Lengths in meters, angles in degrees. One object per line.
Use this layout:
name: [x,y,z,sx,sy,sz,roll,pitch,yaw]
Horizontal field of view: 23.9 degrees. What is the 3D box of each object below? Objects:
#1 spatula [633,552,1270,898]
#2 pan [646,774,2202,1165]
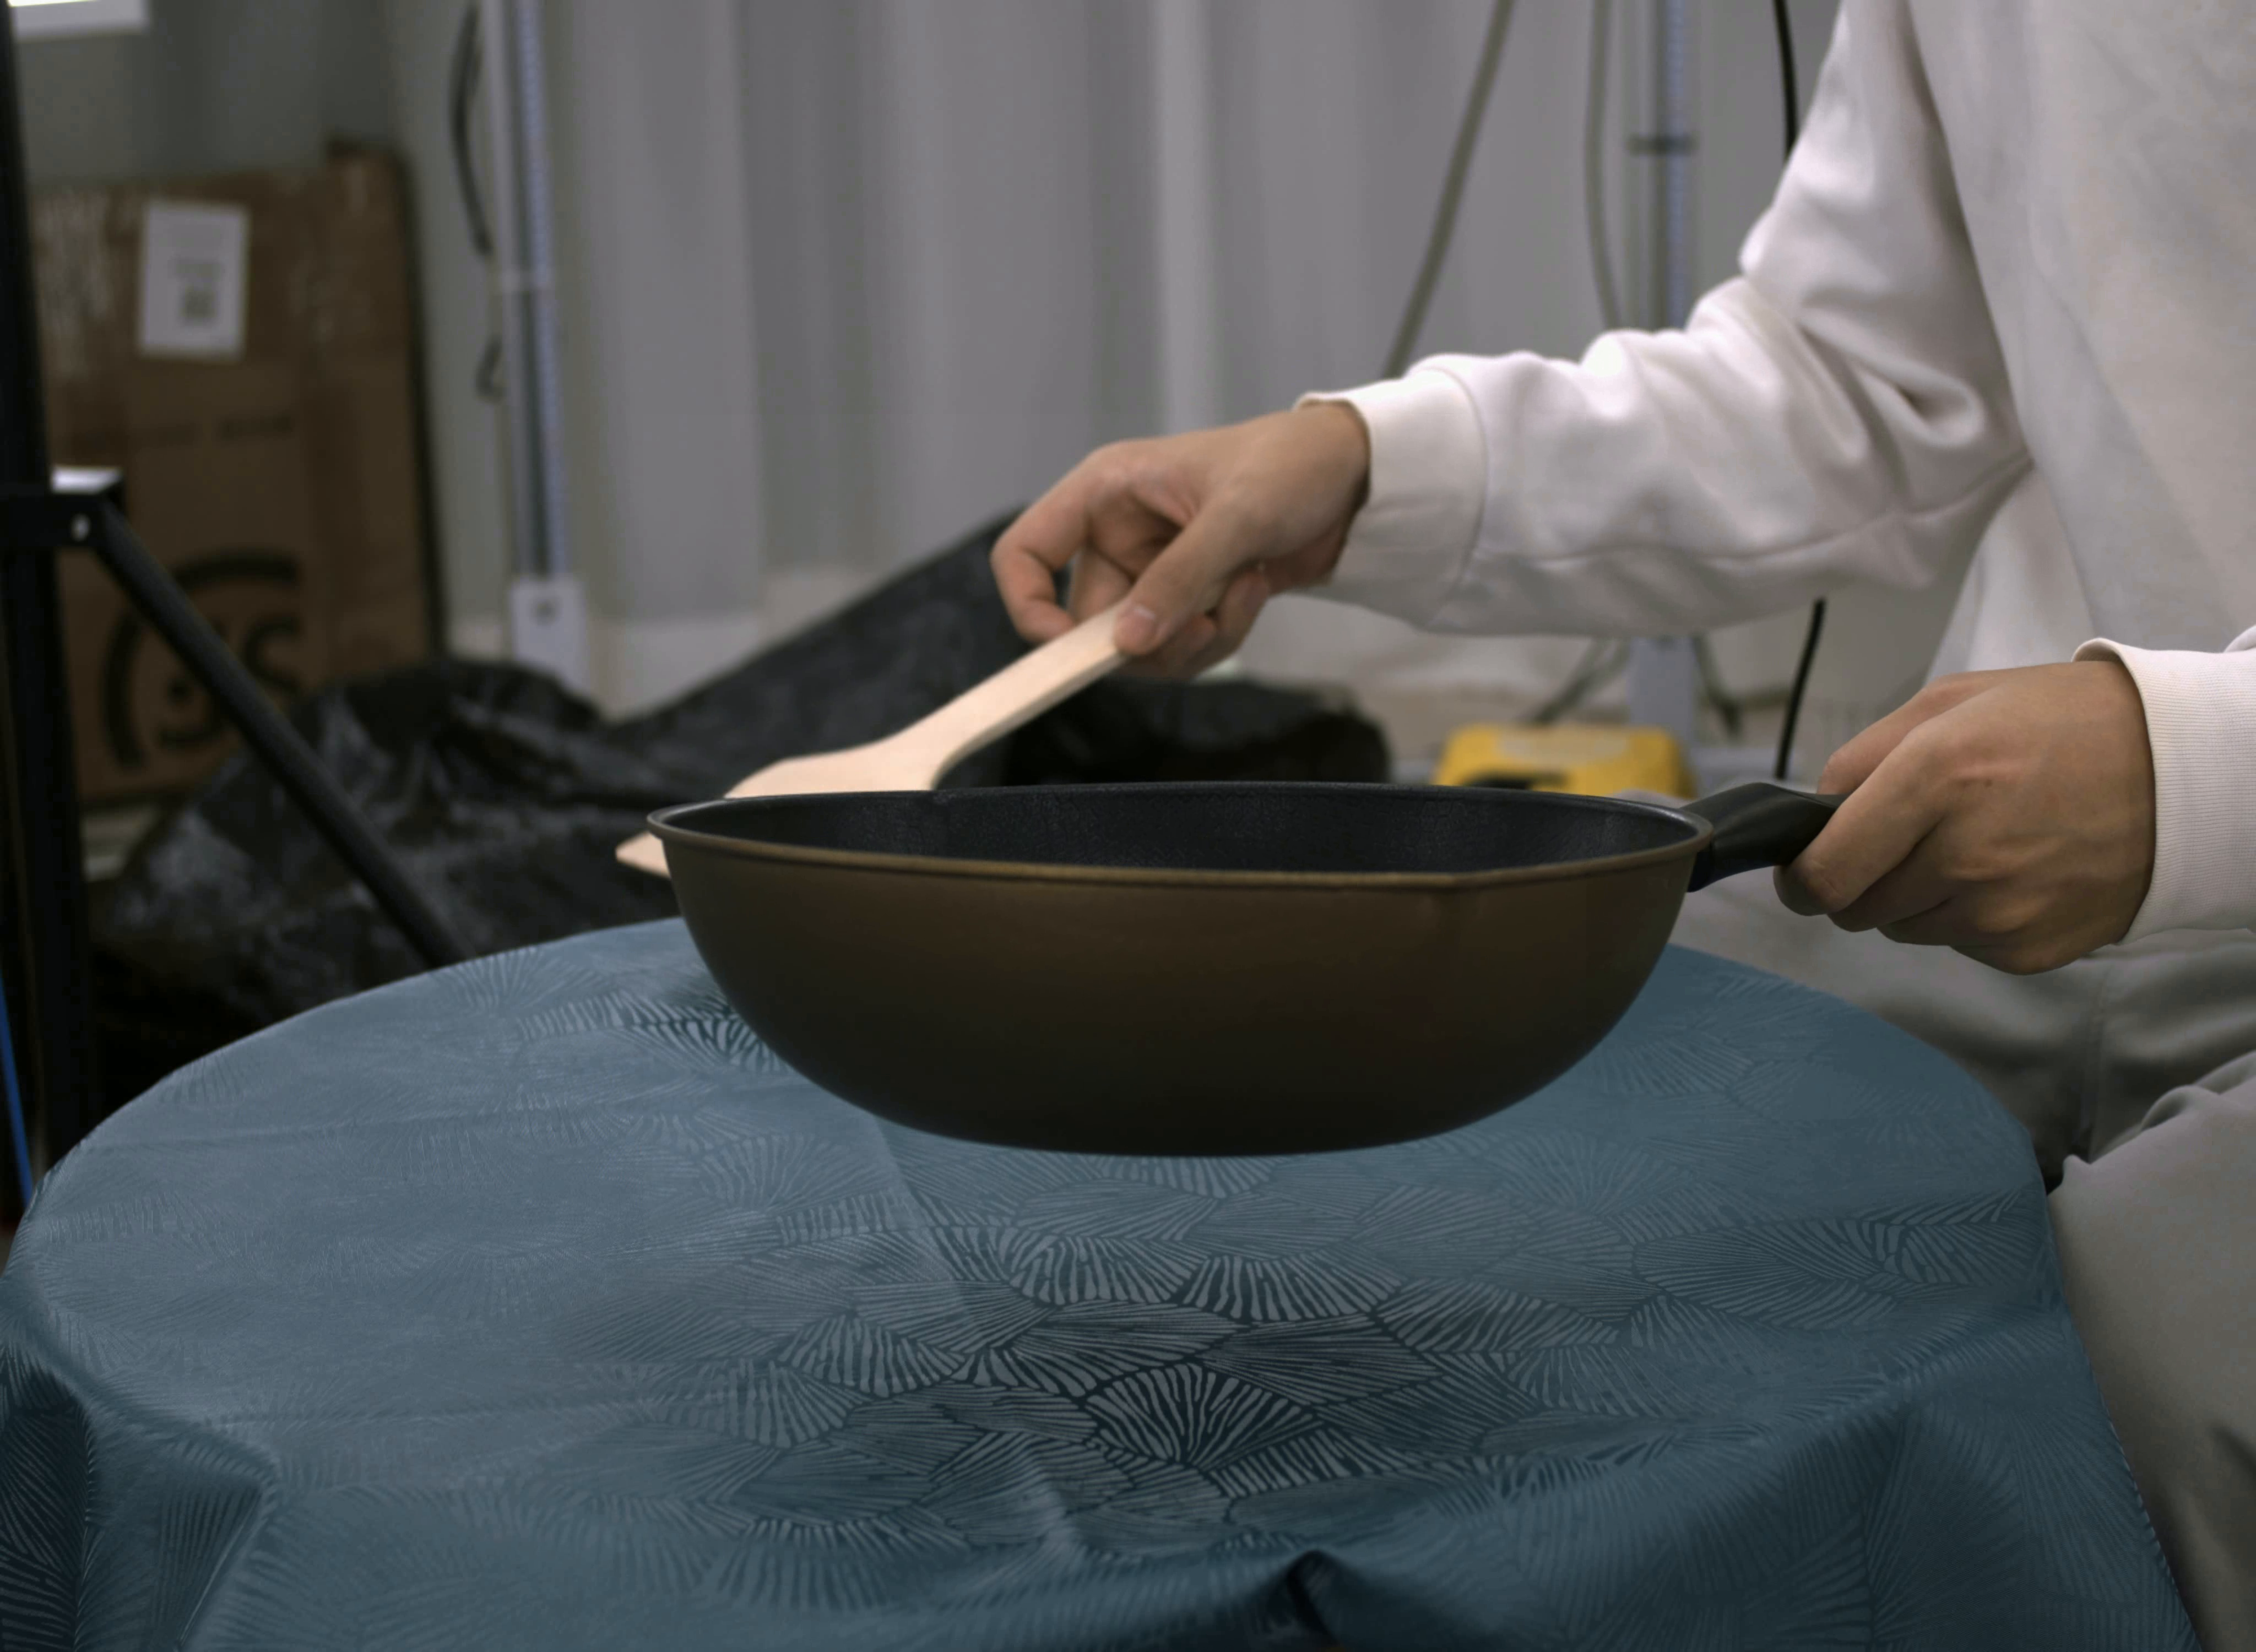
spatula: [-0.049,-0.037,1.829,0.074,0.010,0.288,14,34,39]
pan: [0.094,0.034,1.424,0.453,0.087,0.293,-1,5,-26]
